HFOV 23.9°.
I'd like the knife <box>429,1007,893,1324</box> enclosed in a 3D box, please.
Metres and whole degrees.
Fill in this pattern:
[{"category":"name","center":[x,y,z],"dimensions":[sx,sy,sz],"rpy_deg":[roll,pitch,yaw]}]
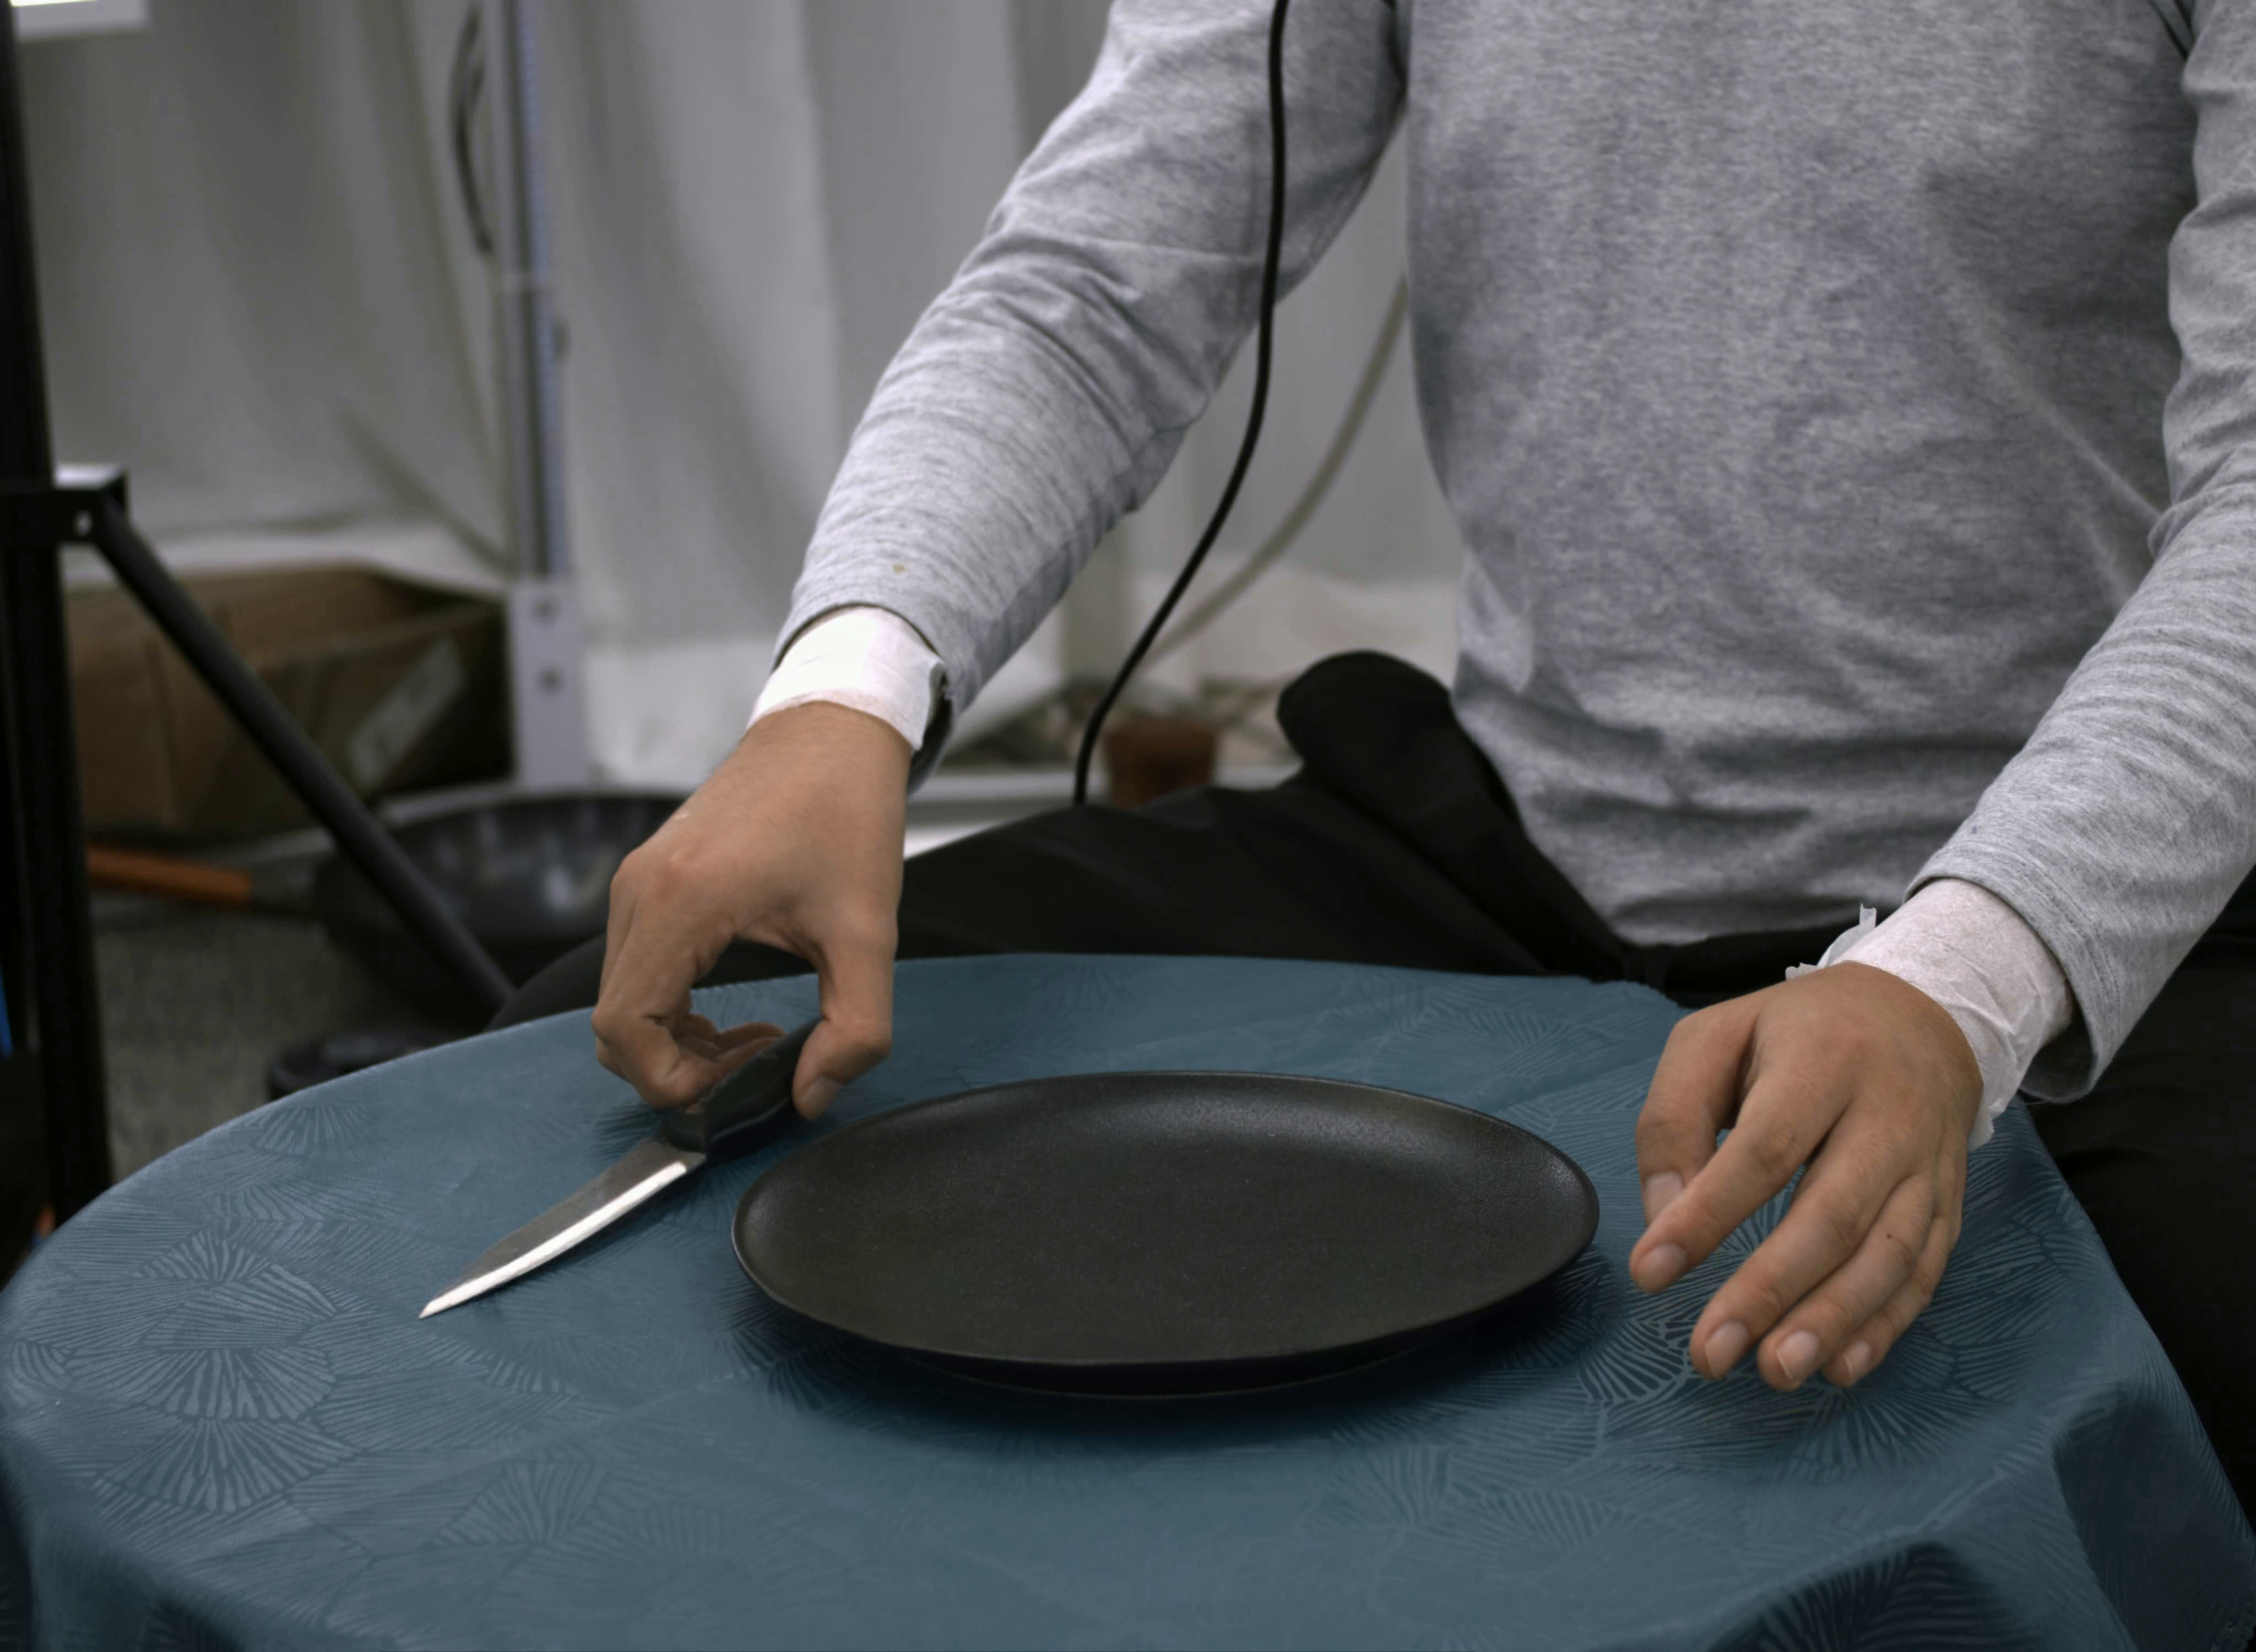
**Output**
[{"category":"knife","center":[-0.139,0.100,1.581],"dimensions":[0.025,0.016,0.234],"rpy_deg":[7,23,29]}]

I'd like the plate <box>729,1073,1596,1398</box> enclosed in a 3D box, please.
[{"category":"plate","center":[0.010,0.117,1.488],"dimensions":[0.243,0.023,0.245],"rpy_deg":[-3,16,-1]}]
